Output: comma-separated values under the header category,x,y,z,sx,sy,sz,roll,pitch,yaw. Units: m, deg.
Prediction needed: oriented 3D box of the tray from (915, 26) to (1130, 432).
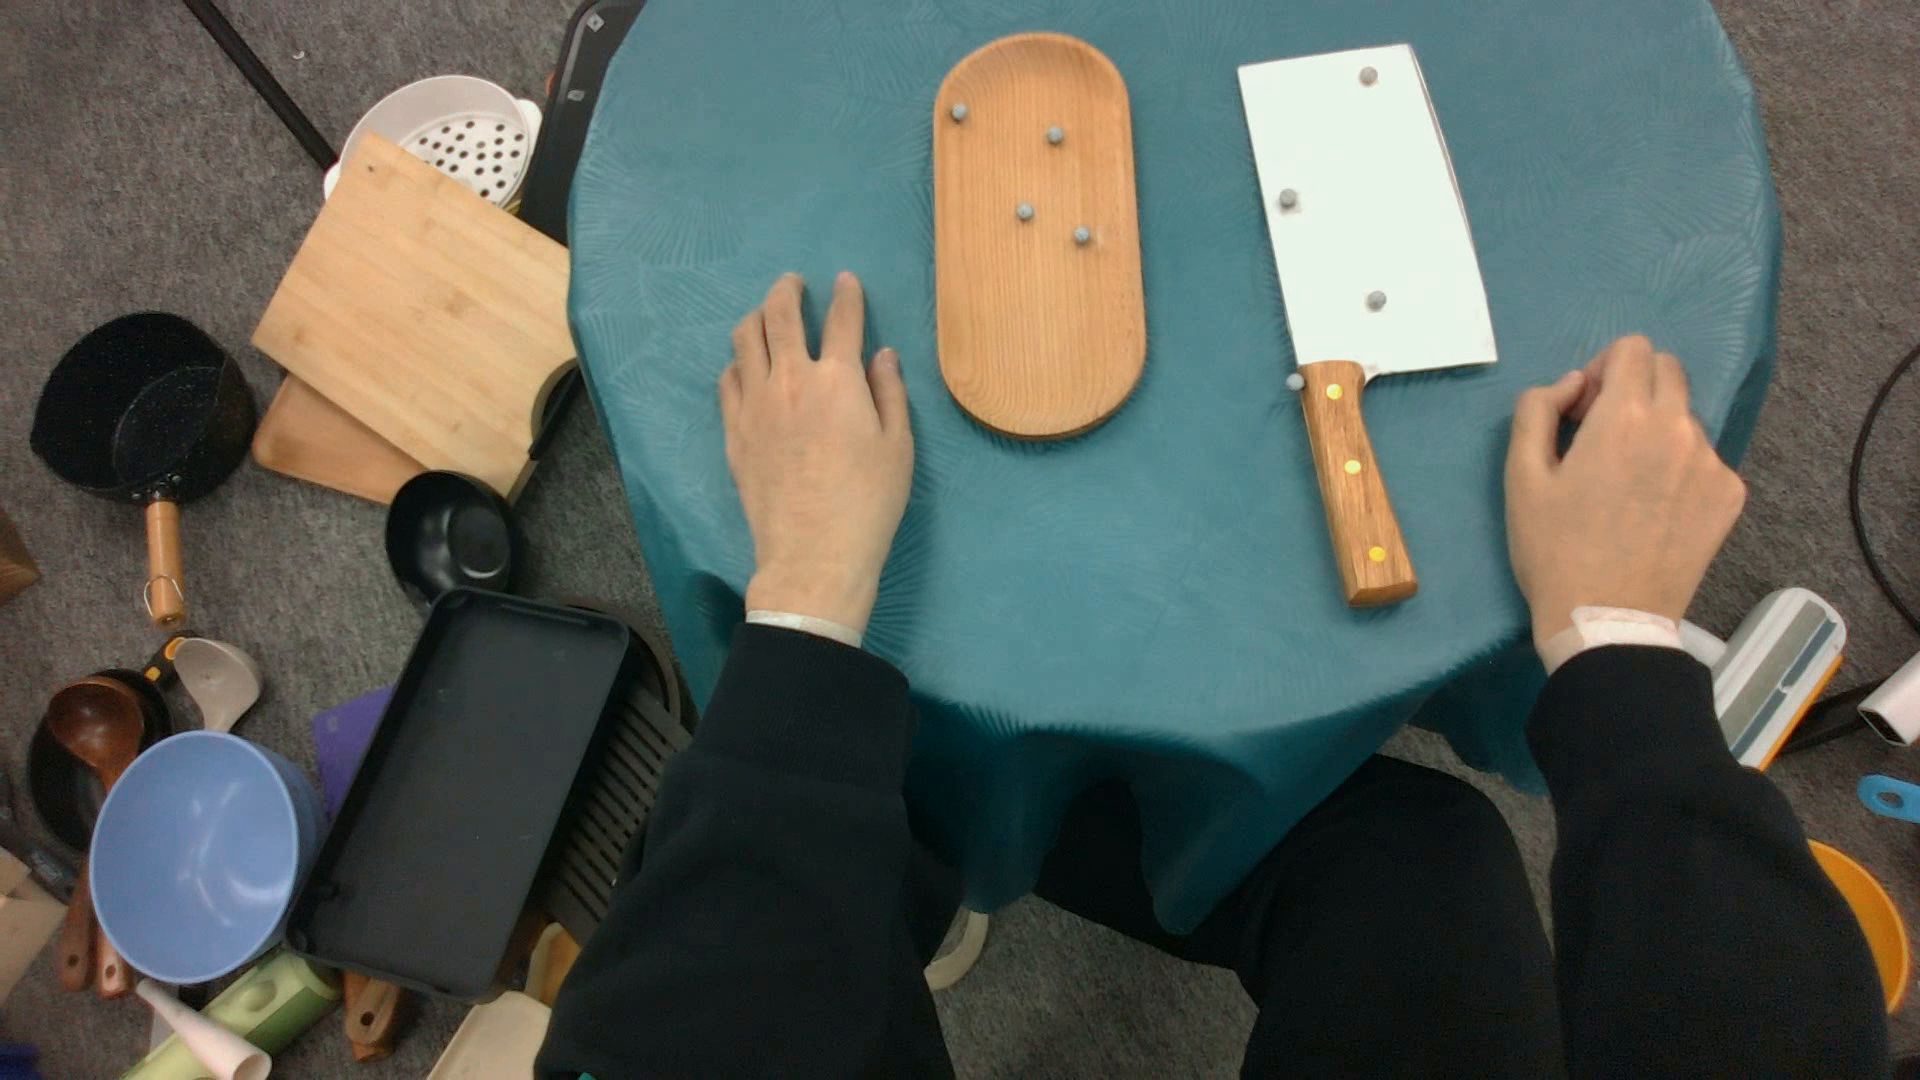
category,x,y,z,sx,sy,sz,roll,pitch,yaw
tray,0.029,-0.158,0.682,0.101,0.020,0.232,-4,70,5

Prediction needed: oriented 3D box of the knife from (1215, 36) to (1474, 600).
category,x,y,z,sx,sy,sz,roll,pitch,yaw
knife,0.189,-0.119,0.652,0.093,0.021,0.307,-7,66,2
